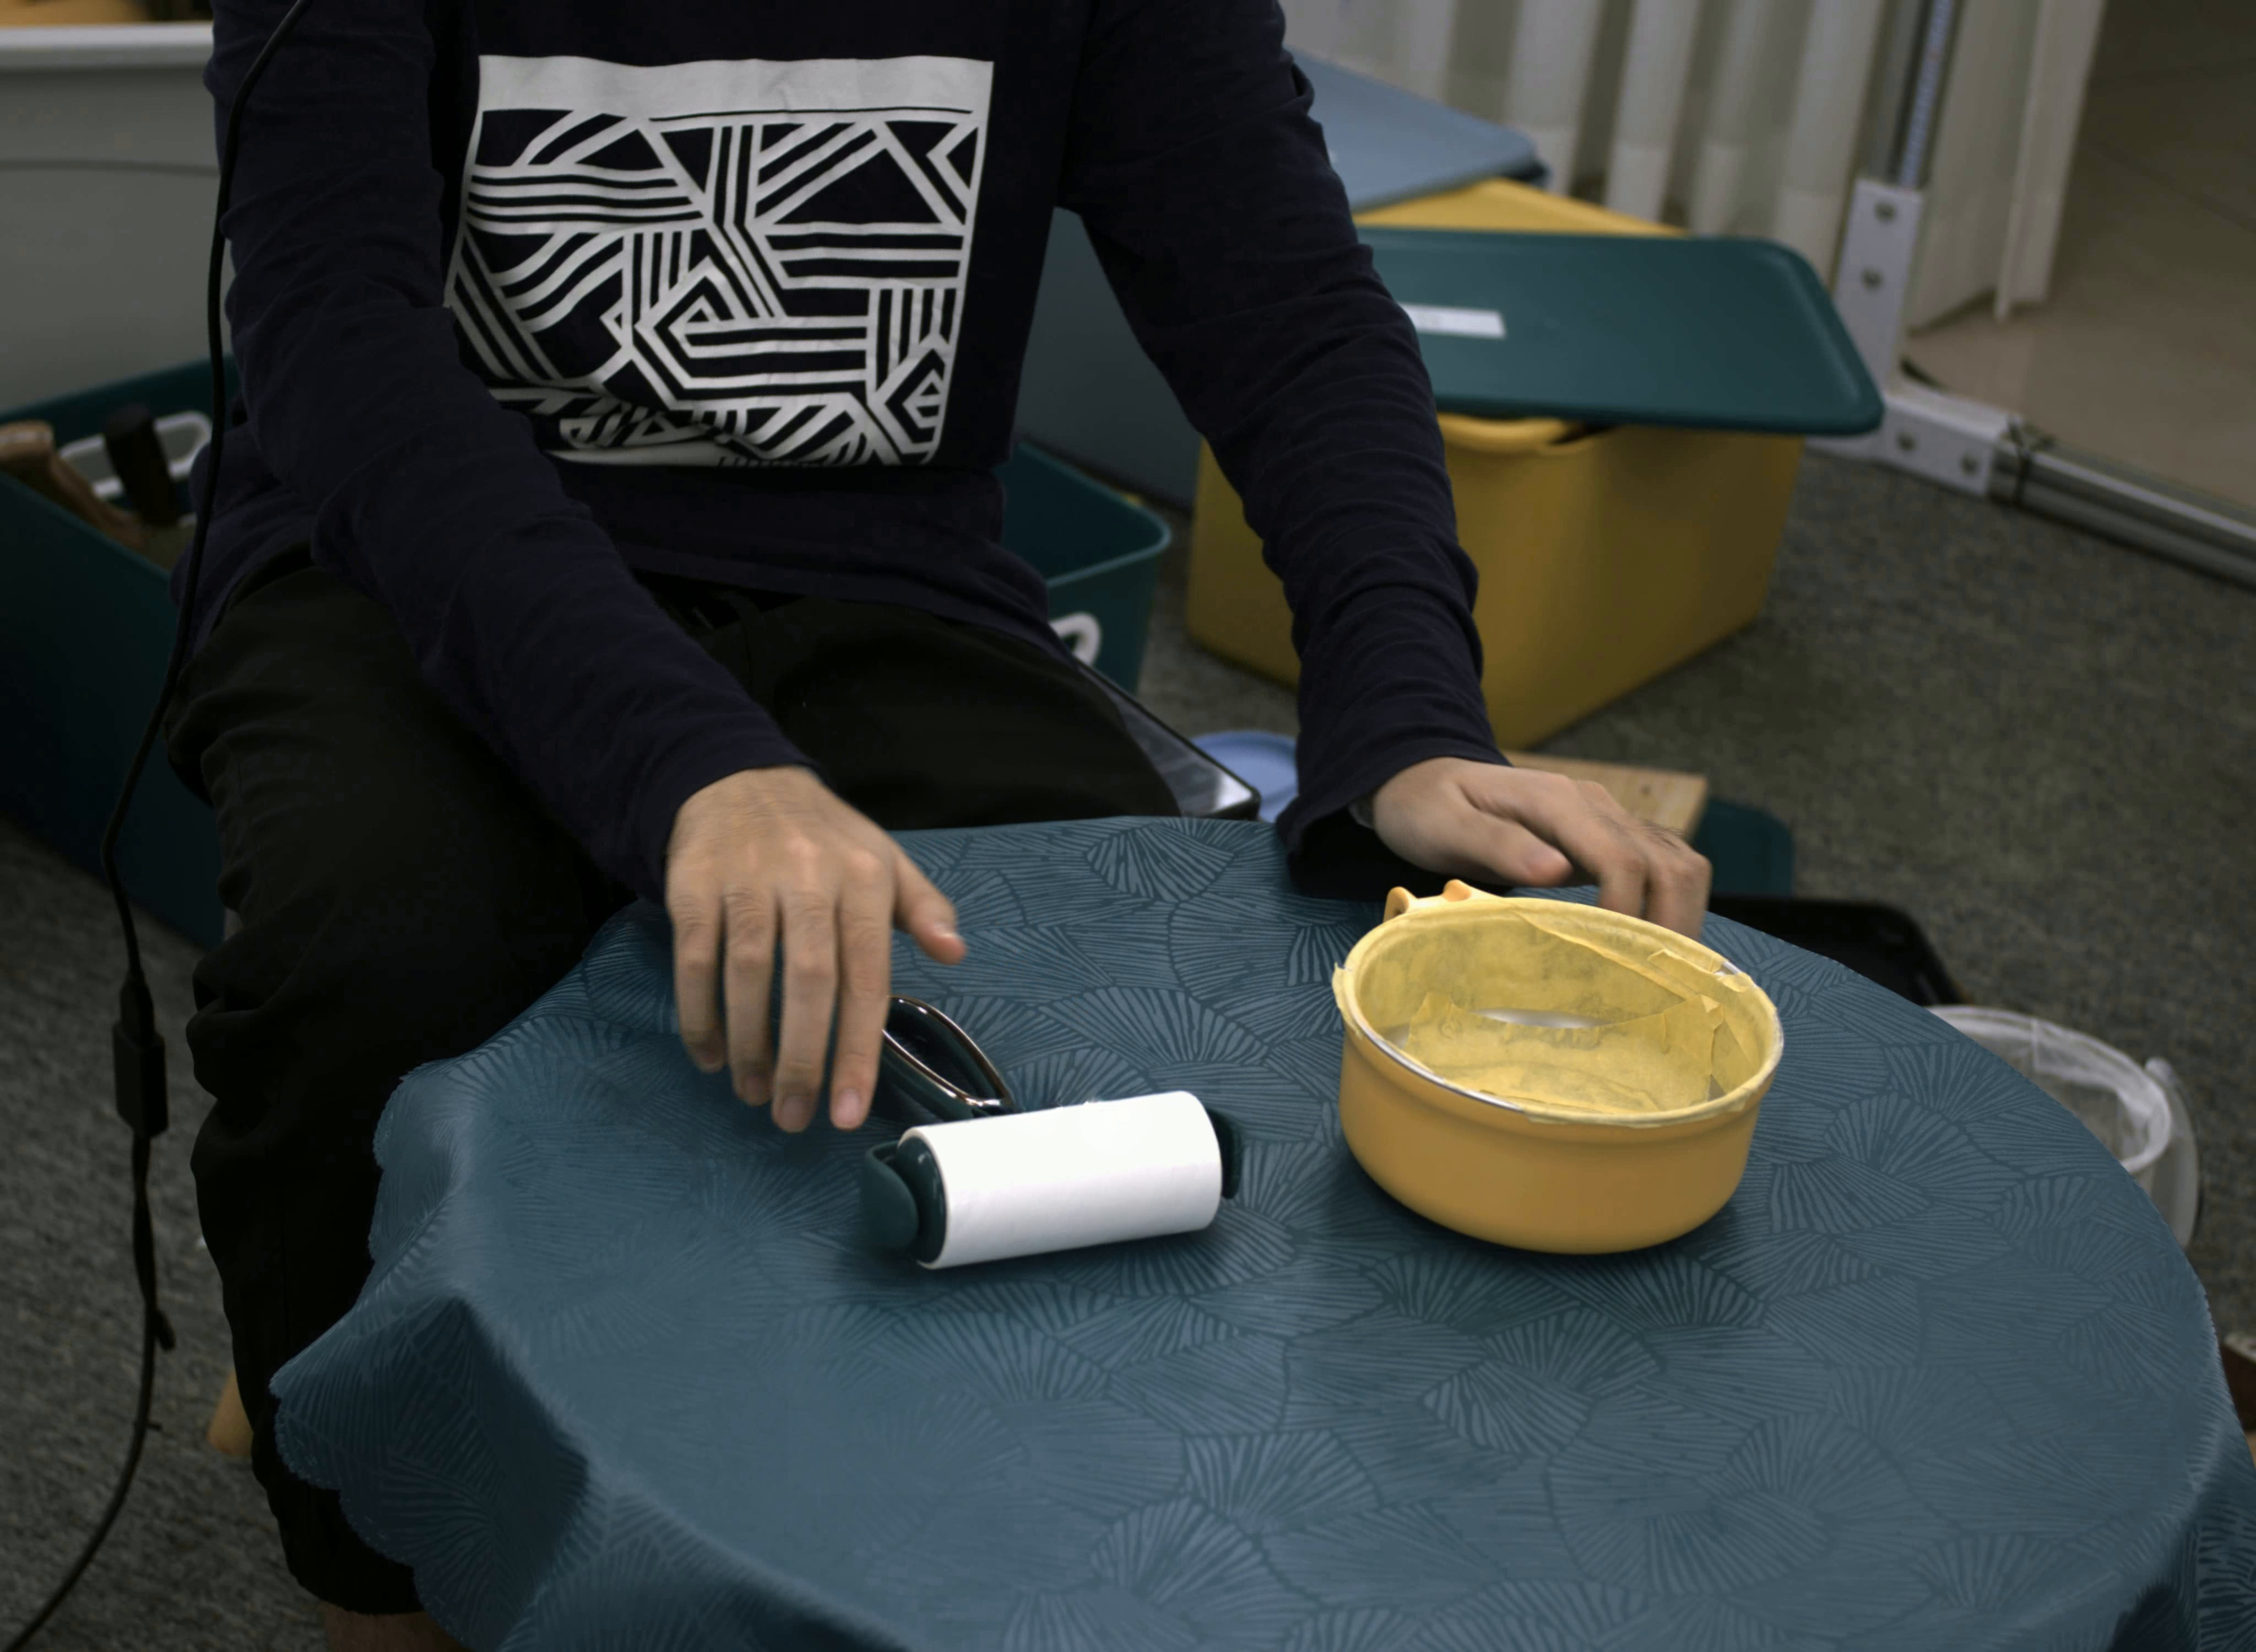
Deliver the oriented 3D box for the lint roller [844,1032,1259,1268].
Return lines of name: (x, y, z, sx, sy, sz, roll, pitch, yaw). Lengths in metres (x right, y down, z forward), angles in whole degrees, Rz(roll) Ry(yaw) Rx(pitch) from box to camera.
lint roller: (-0.053, 0.091, 1.817, 0.133, 0.048, 0.181, -7, 26, -24)

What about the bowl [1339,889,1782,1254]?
bowl: (0.140, 0.084, 1.843, 0.152, 0.074, 0.181, -12, 32, -28)
